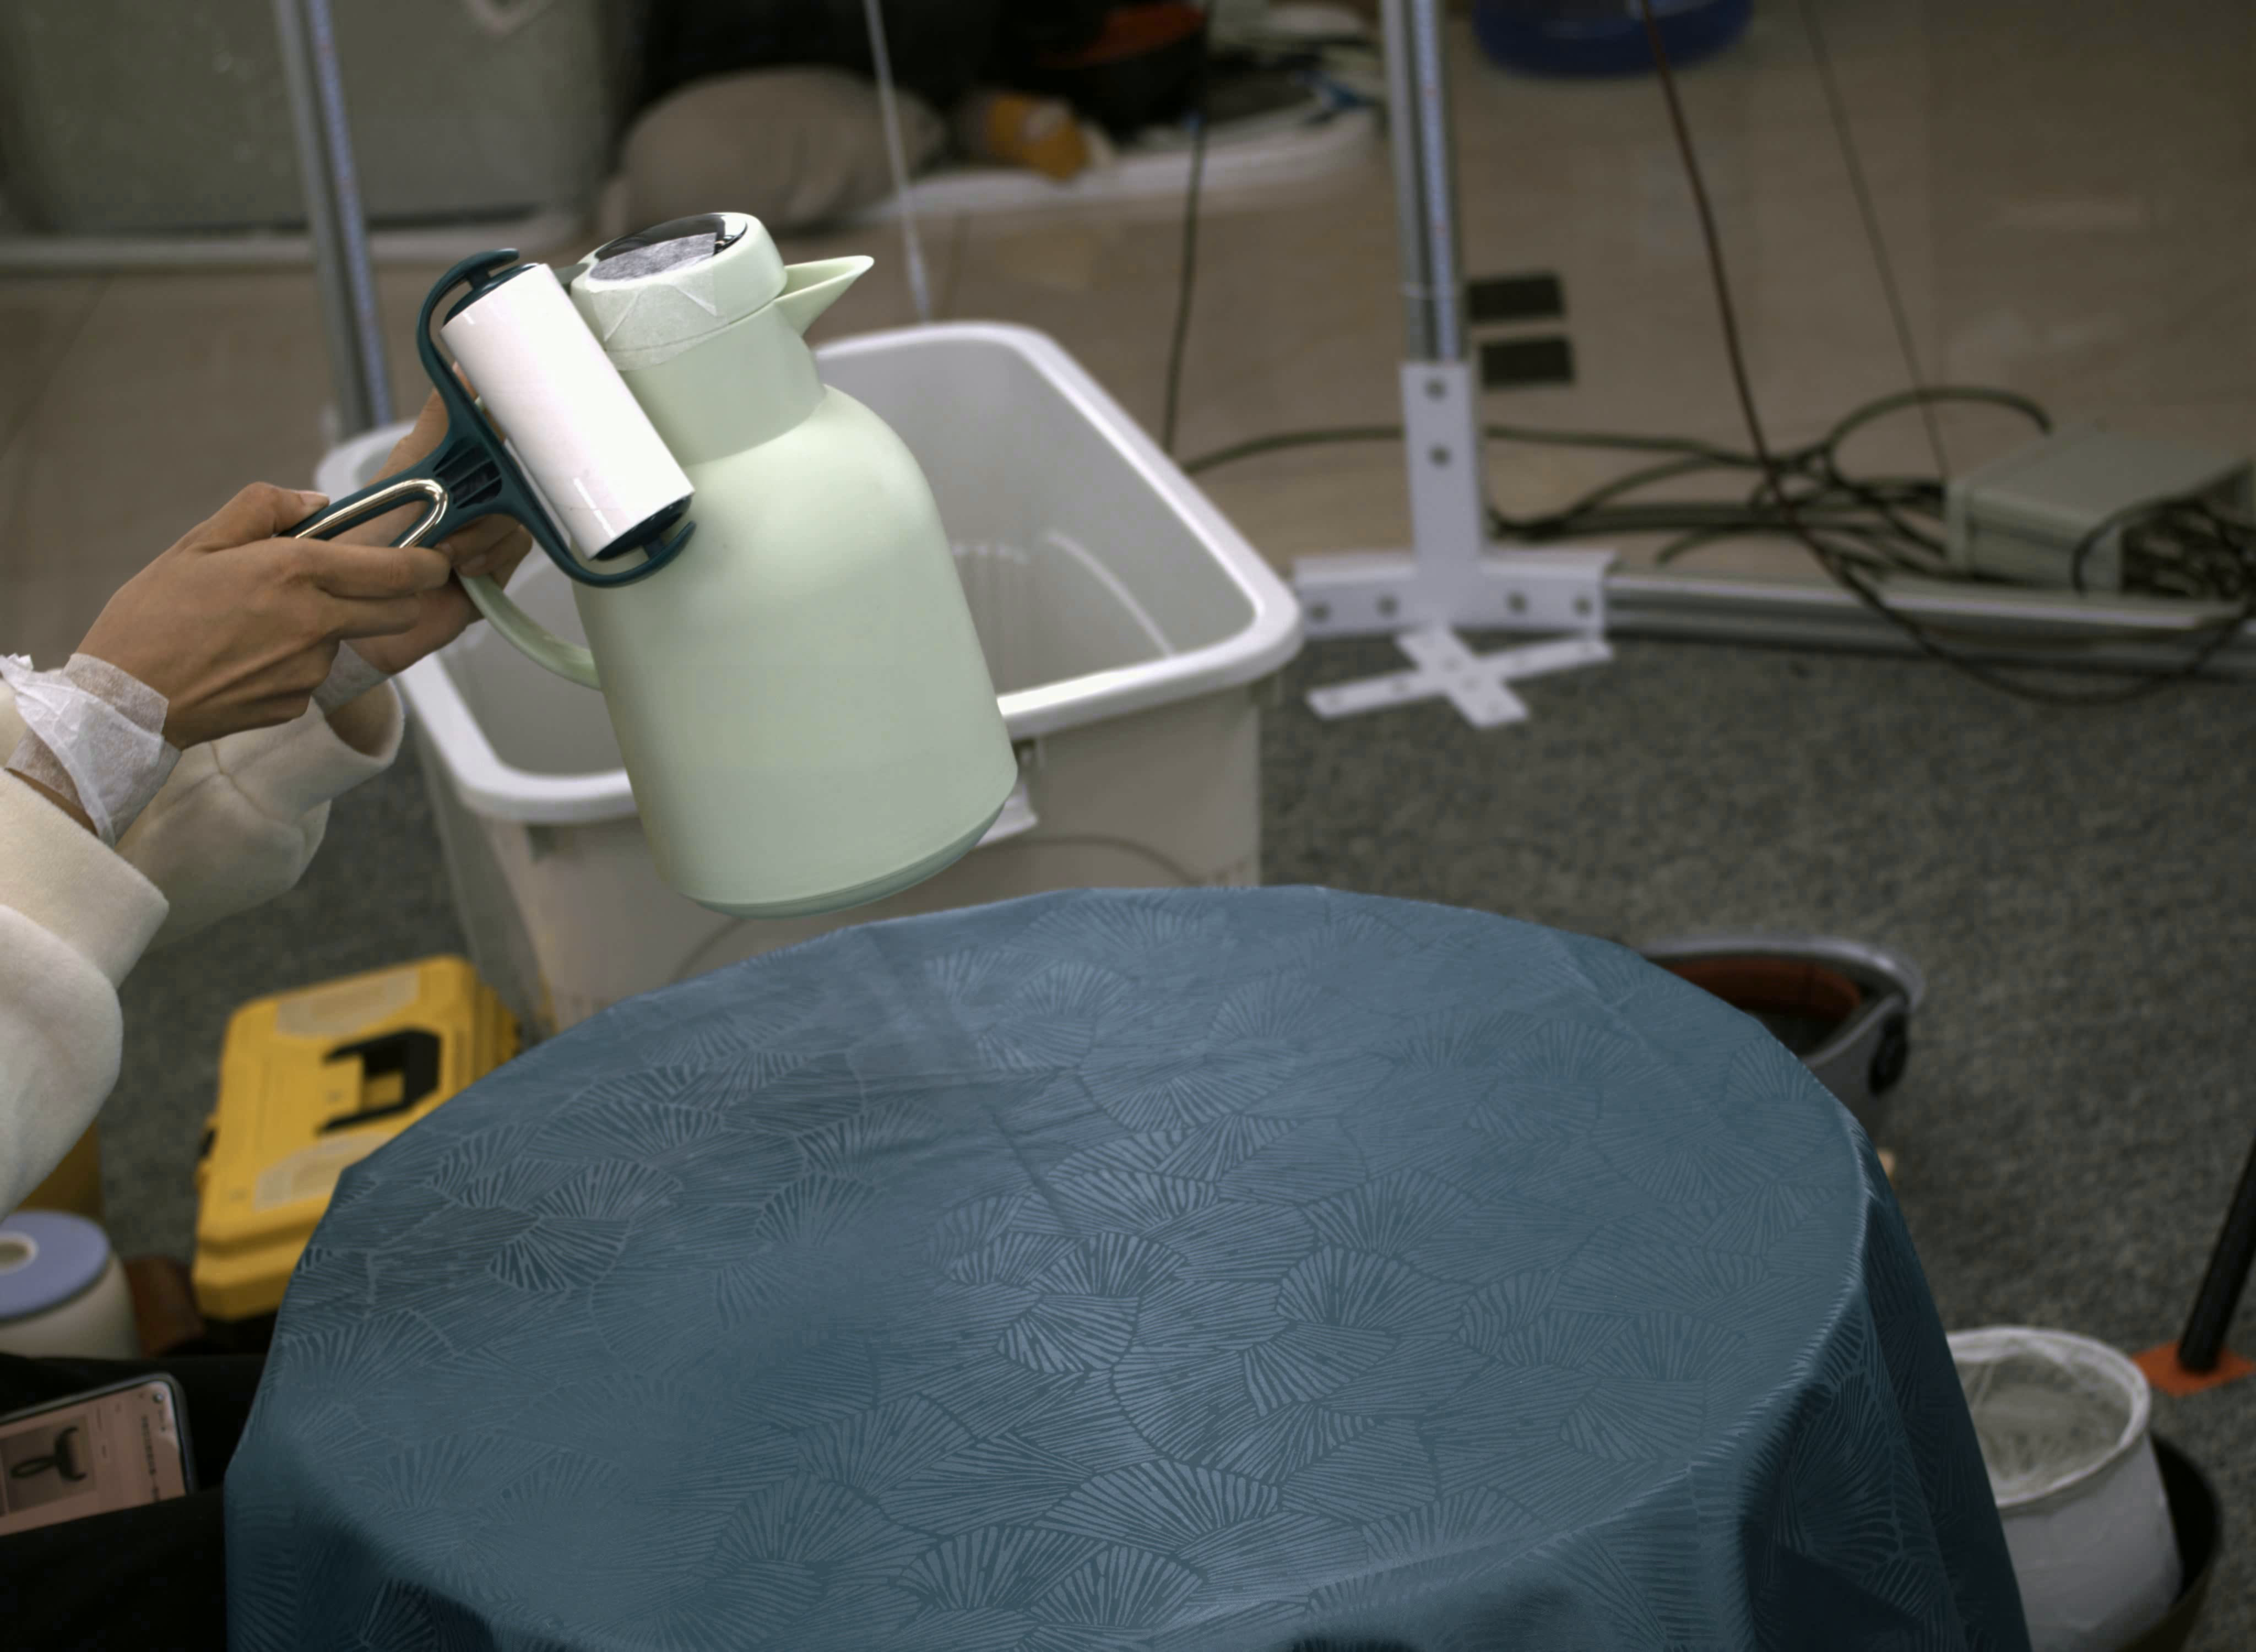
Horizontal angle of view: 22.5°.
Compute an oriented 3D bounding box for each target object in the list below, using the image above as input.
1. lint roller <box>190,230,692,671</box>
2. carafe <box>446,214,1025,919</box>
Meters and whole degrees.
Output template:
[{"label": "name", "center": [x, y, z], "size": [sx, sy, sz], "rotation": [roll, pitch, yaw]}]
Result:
[{"label": "lint roller", "center": [-0.259, -0.113, 2.032], "size": [0.179, 0.134, 0.048], "rotation": [-34, 2, -13]}, {"label": "carafe", "center": [-0.153, -0.099, 2.138], "size": [0.187, 0.260, 0.142], "rotation": [-17, 26, 7]}]
